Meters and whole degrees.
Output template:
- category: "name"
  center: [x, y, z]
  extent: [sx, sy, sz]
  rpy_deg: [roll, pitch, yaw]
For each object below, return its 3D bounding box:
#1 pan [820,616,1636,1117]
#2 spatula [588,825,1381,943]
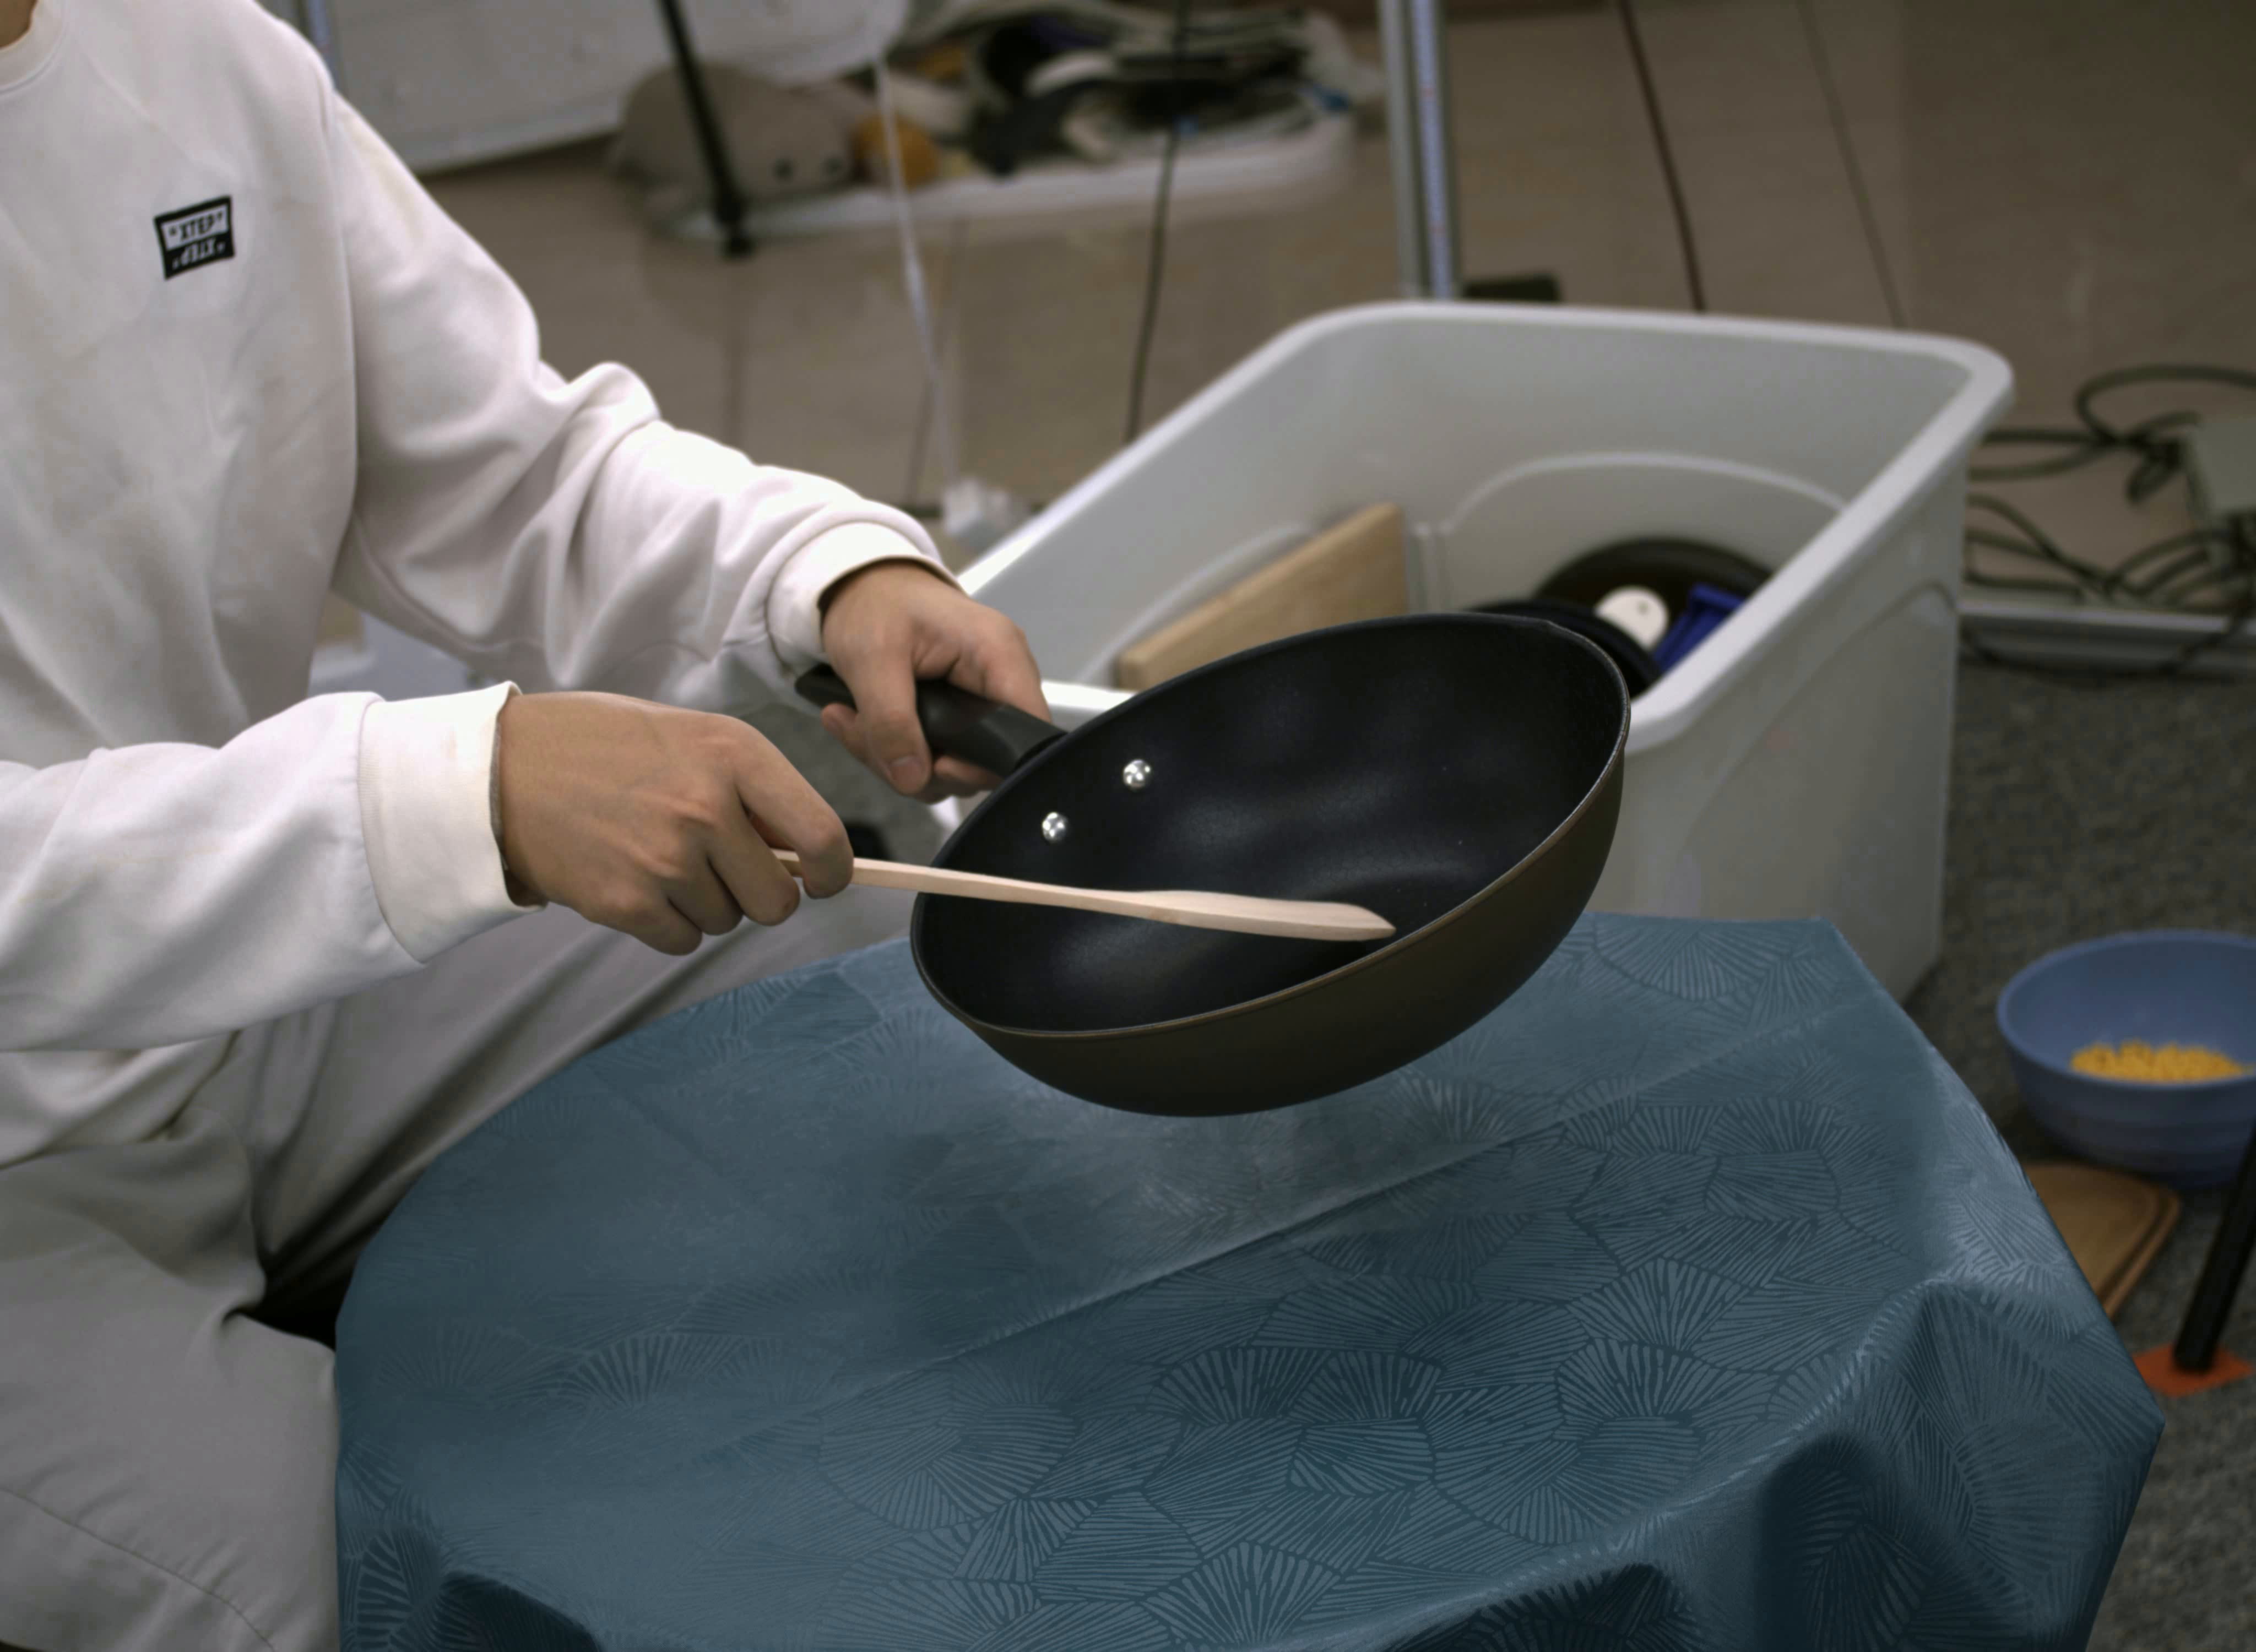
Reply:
- category: "pan"
  center: [0.013, 0.009, 2.169]
  extent: [0.286, 0.088, 0.460]
  rpy_deg: [-34, 28, -24]
- category: "spatula"
  center: [-0.053, 0.021, 2.080]
  extent: [0.293, 0.011, 0.072]
  rpy_deg: [7, 6, -13]
